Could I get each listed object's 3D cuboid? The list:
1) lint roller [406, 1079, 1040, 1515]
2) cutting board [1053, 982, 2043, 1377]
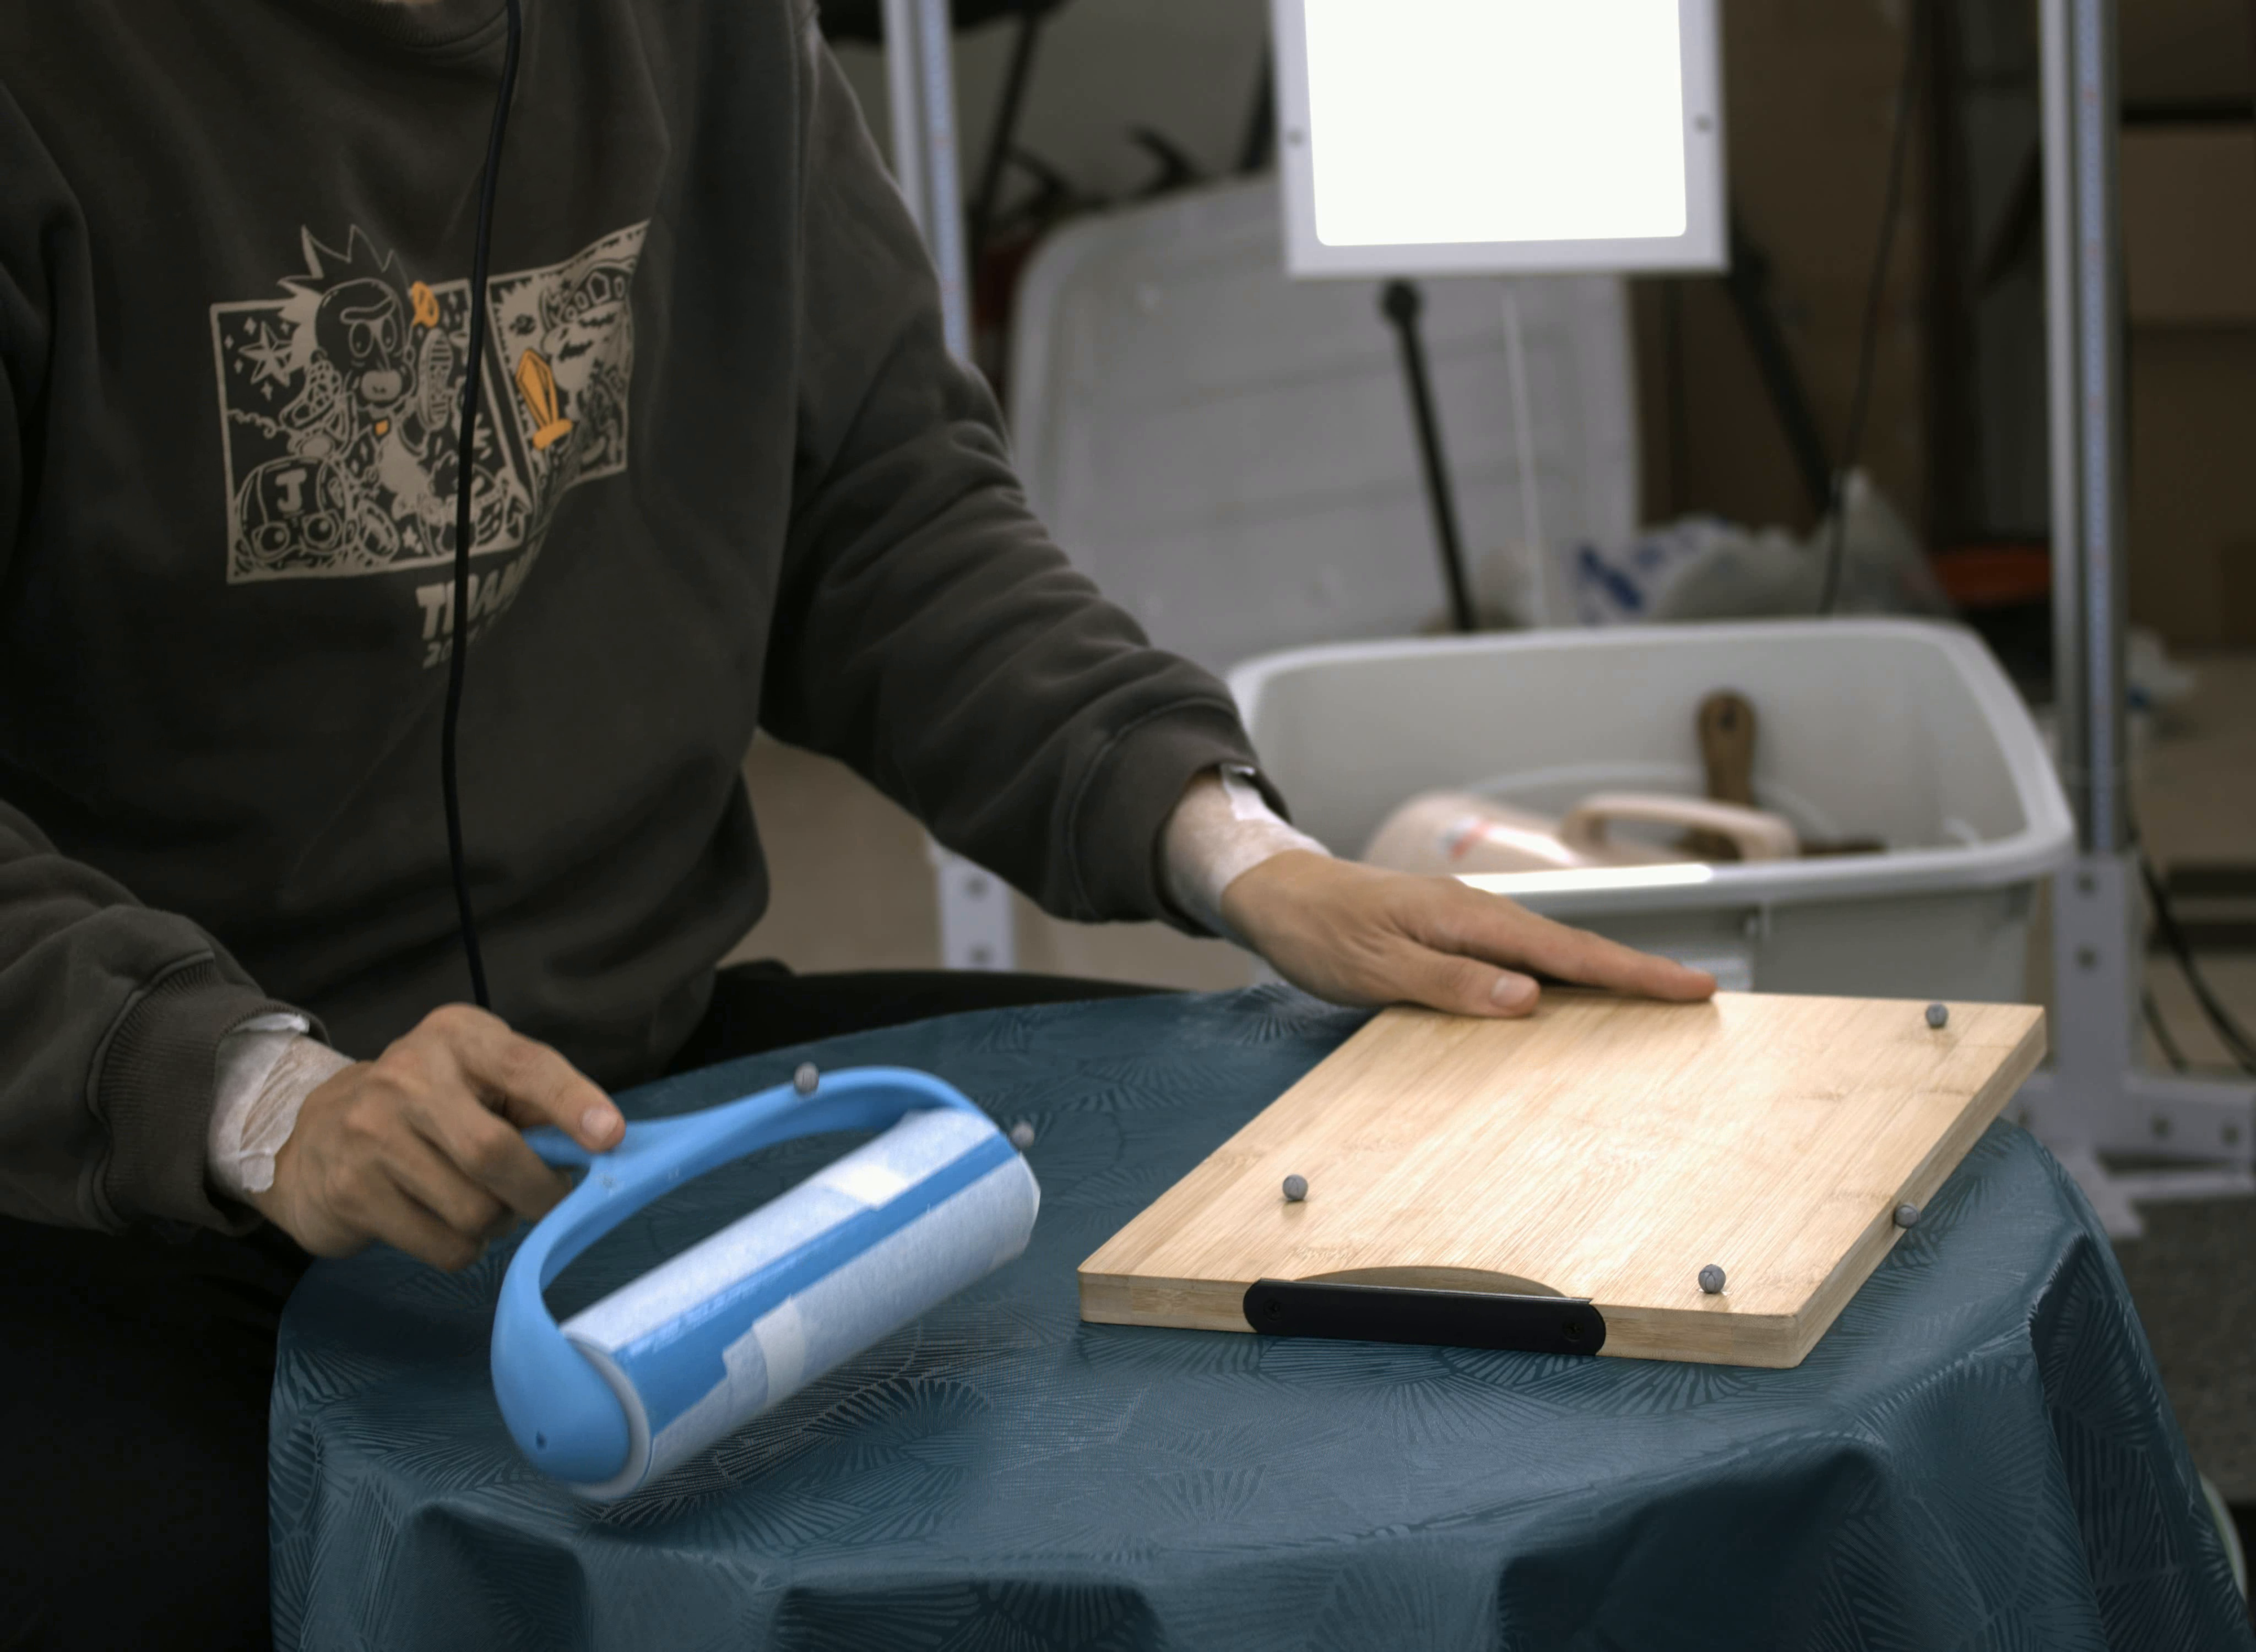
[{"bbox_3d":[-0.152,0.129,1.711,0.183,0.068,0.223,18,30,28],"label":"lint roller"},{"bbox_3d":[0.154,0.114,1.858,0.254,0.023,0.342,1,15,23],"label":"cutting board"}]
